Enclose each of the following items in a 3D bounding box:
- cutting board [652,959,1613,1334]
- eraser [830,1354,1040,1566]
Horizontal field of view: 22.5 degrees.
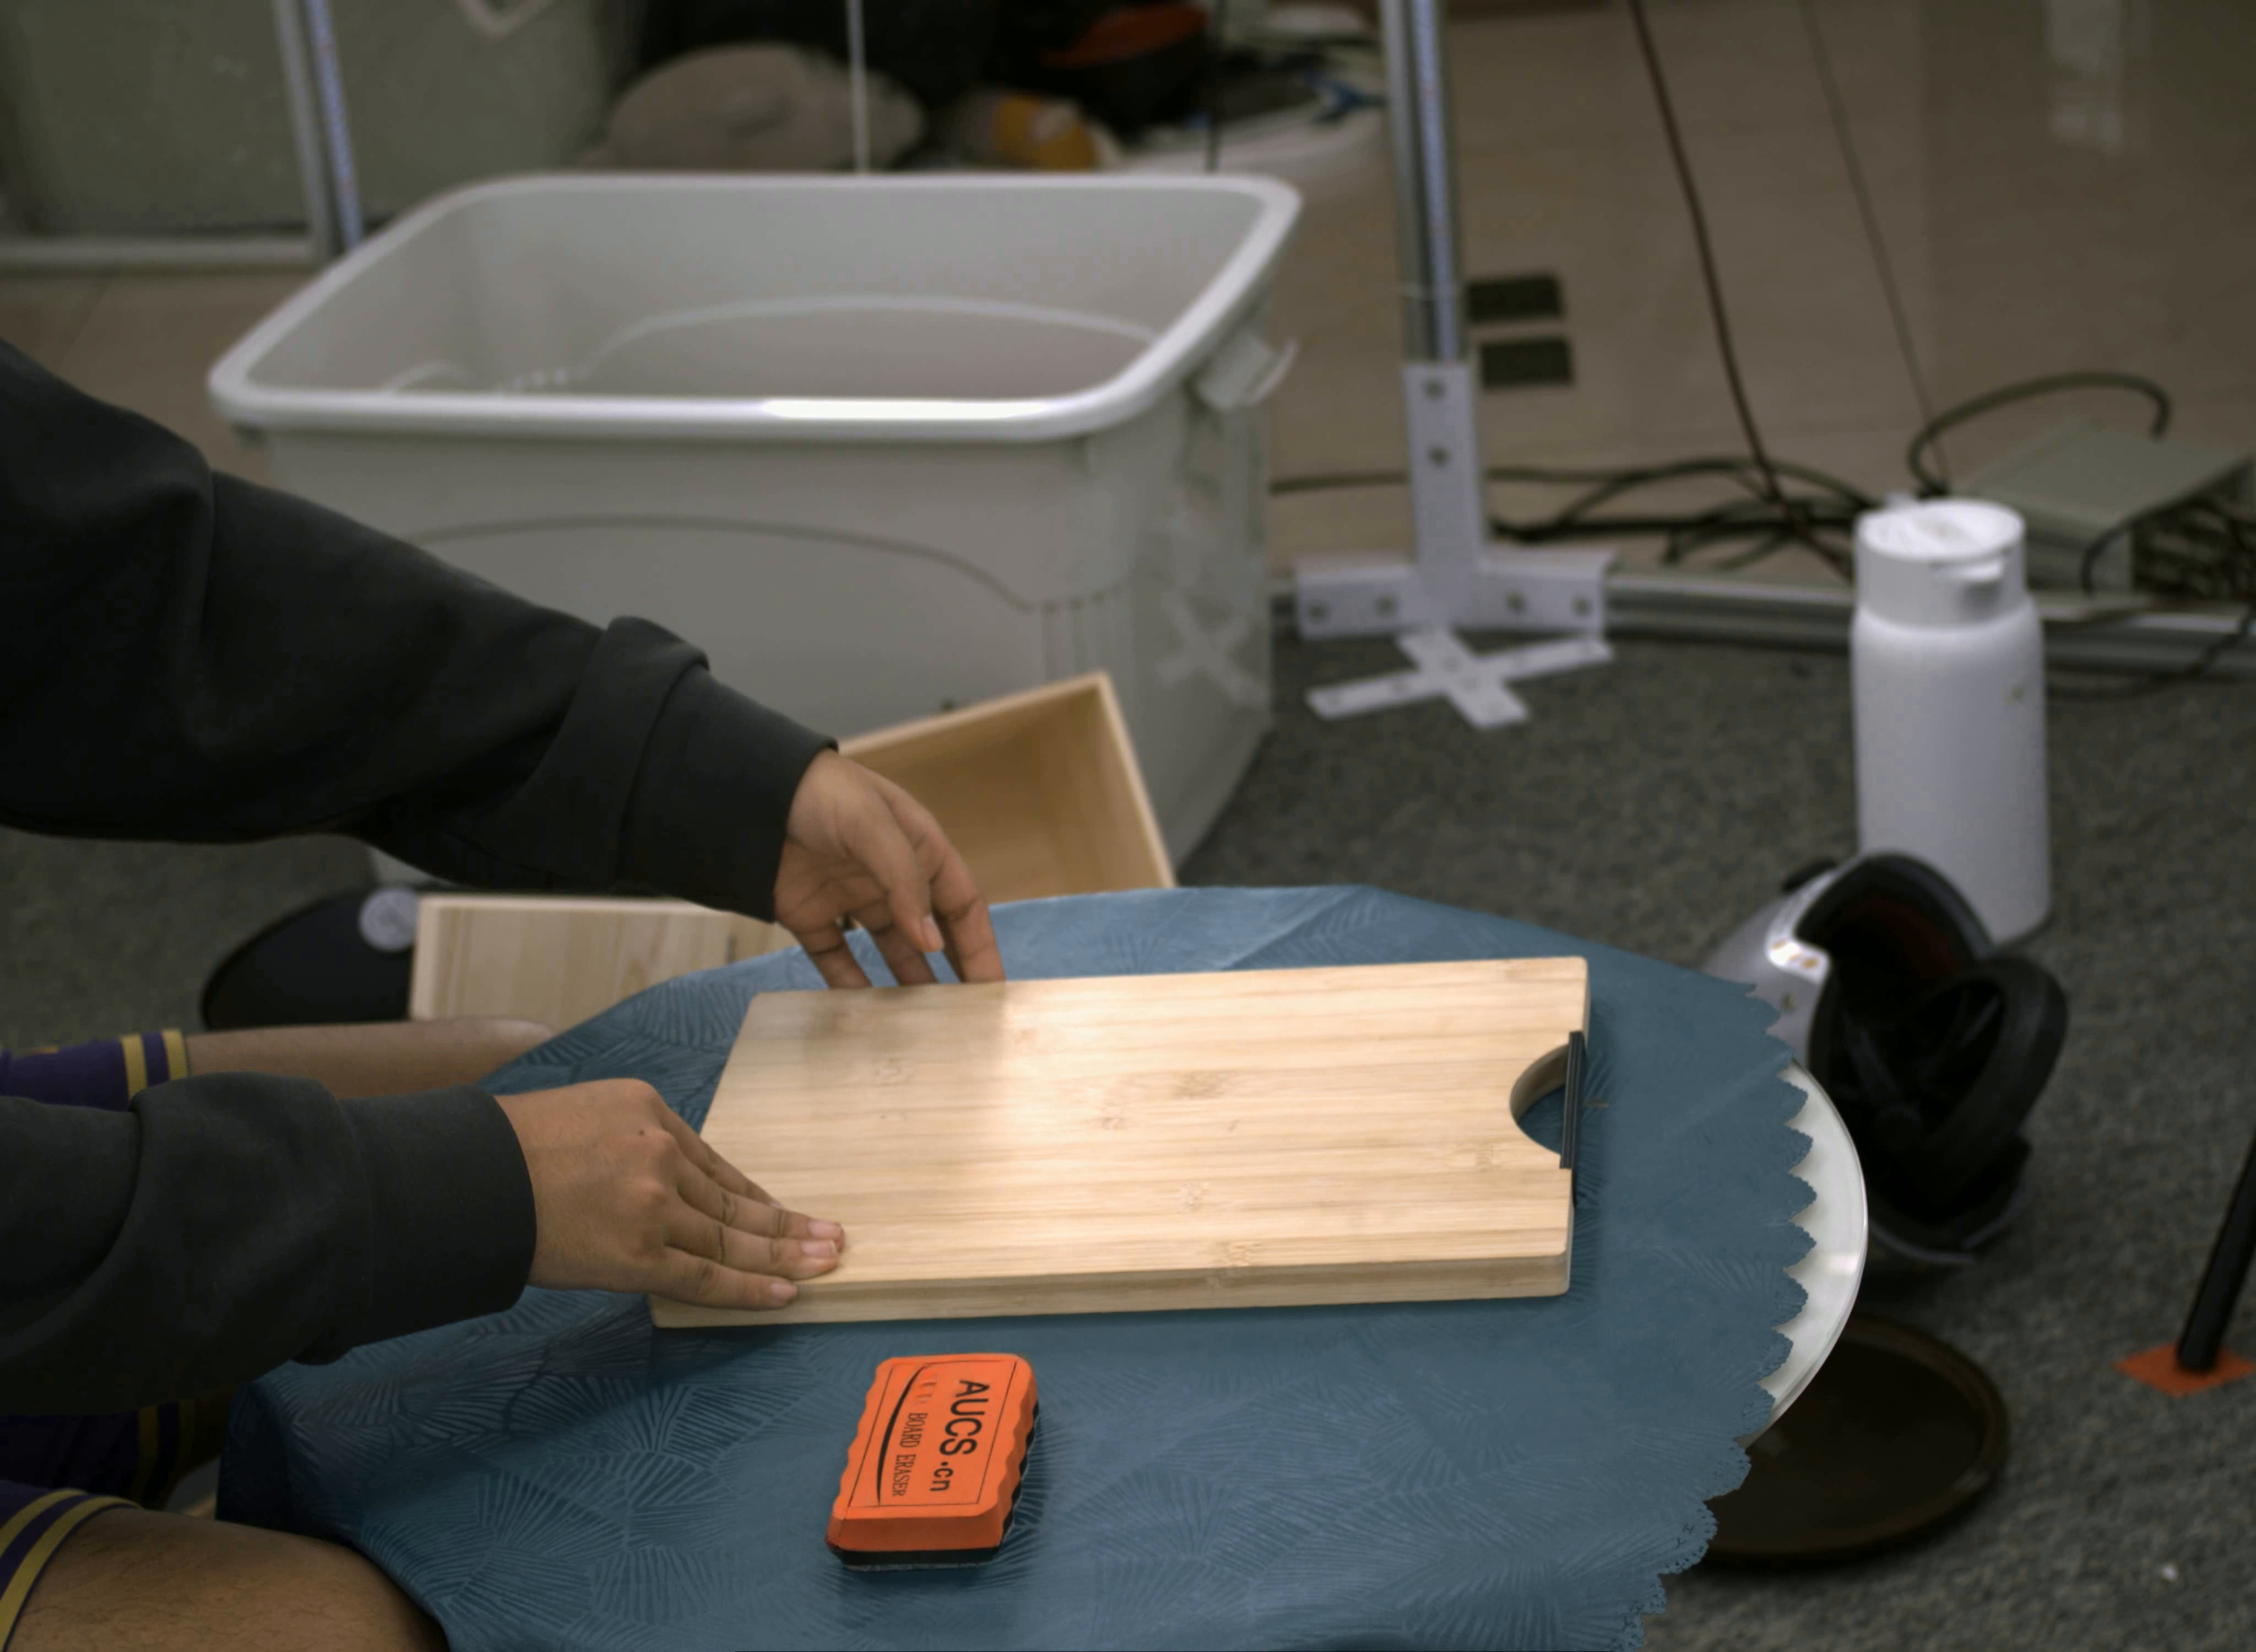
[{"bbox_3d":[0.009,0.119,2.167,0.348,0.024,0.247,-3,26,8],"label":"cutting board"},{"bbox_3d":[-0.066,0.218,1.964,0.059,0.023,0.106,-2,24,10],"label":"eraser"}]
